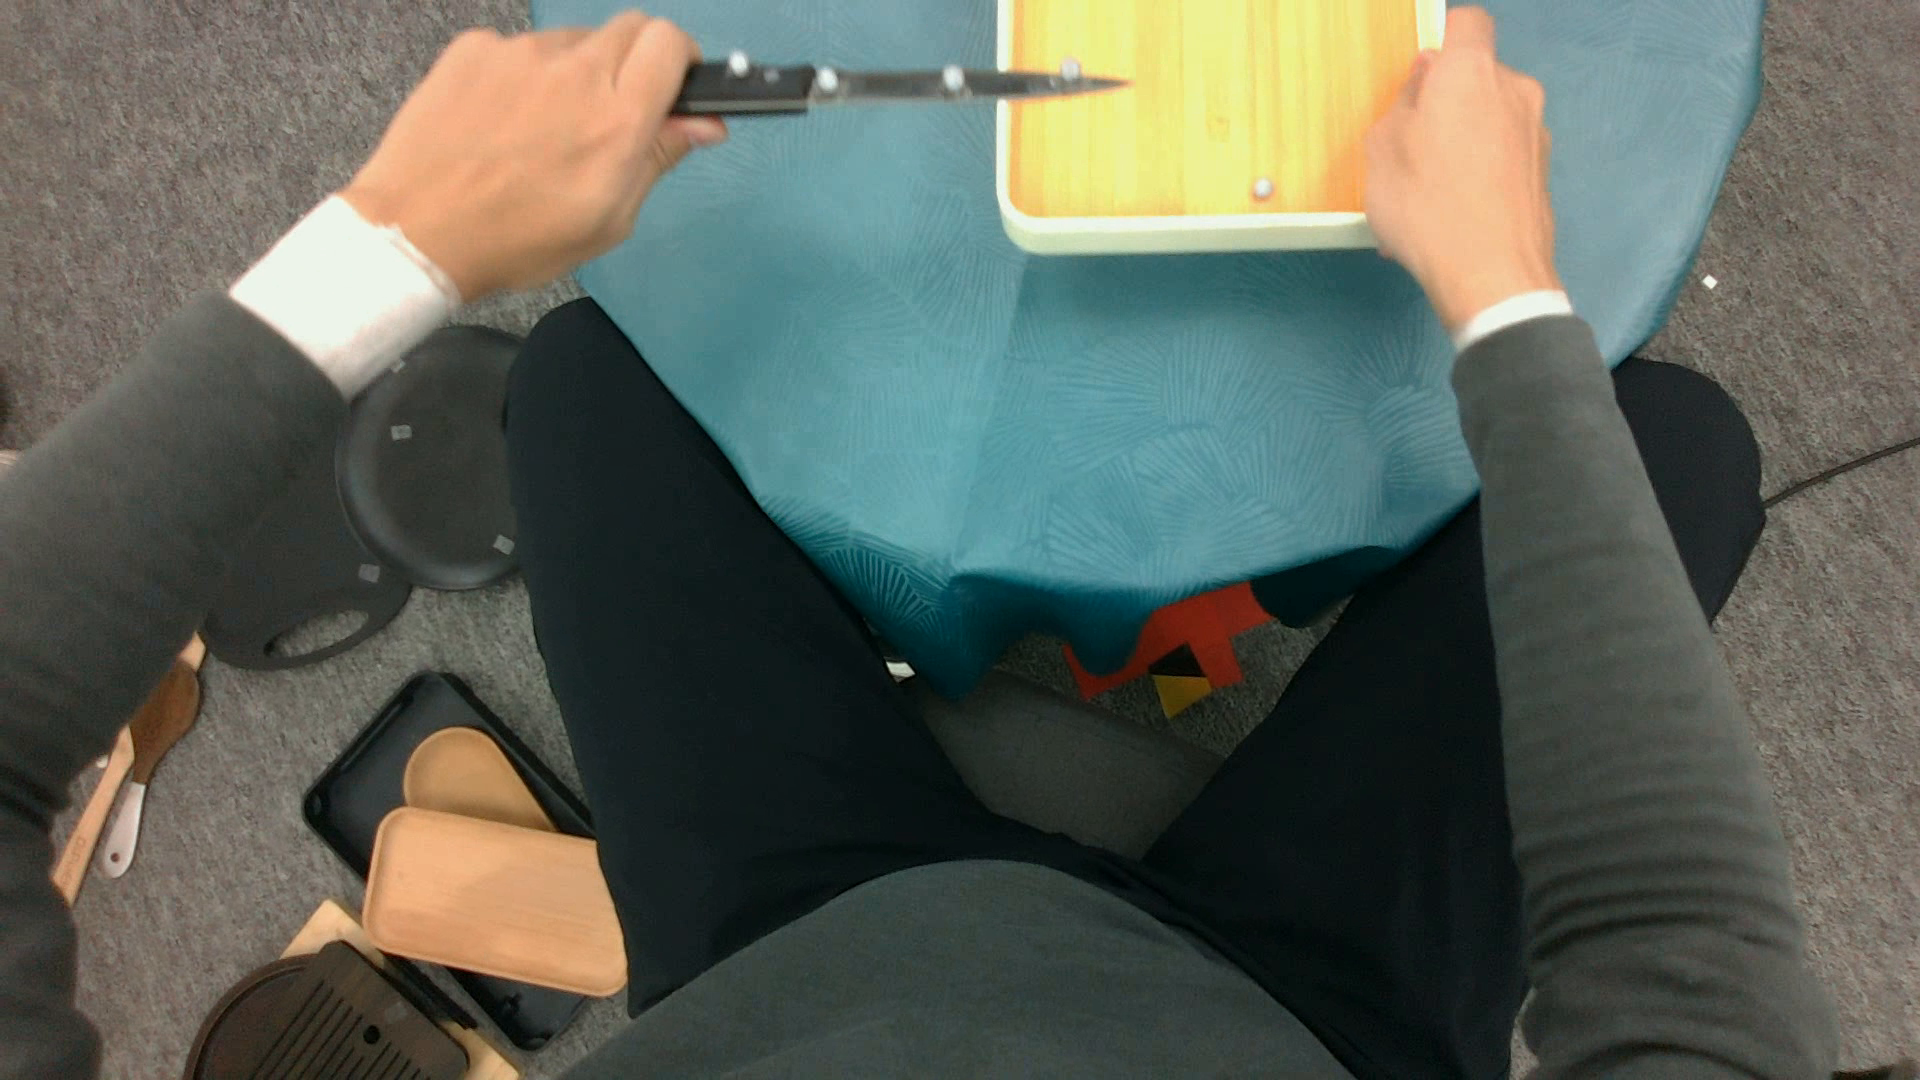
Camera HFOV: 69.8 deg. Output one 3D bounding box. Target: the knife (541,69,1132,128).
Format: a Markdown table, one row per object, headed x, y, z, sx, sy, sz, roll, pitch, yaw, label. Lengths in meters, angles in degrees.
| x | y | z | sx | sy | sz | roll | pitch | yaw | label |
| --- | --- | --- | --- | --- | --- | --- | --- | --- | --- |
| -0.053 | -0.172 | 0.534 | 0.238 | 0.016 | 0.024 | 1 | 53 | 10 | knife |

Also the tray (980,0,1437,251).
| x | y | z | sx | sy | sz | roll | pitch | yaw | label |
| --- | --- | --- | --- | --- | --- | --- | --- | --- | --- |
| 0.107 | -0.272 | 0.625 | 0.191 | 0.027 | 0.301 | 0 | 73 | 5 | tray |
